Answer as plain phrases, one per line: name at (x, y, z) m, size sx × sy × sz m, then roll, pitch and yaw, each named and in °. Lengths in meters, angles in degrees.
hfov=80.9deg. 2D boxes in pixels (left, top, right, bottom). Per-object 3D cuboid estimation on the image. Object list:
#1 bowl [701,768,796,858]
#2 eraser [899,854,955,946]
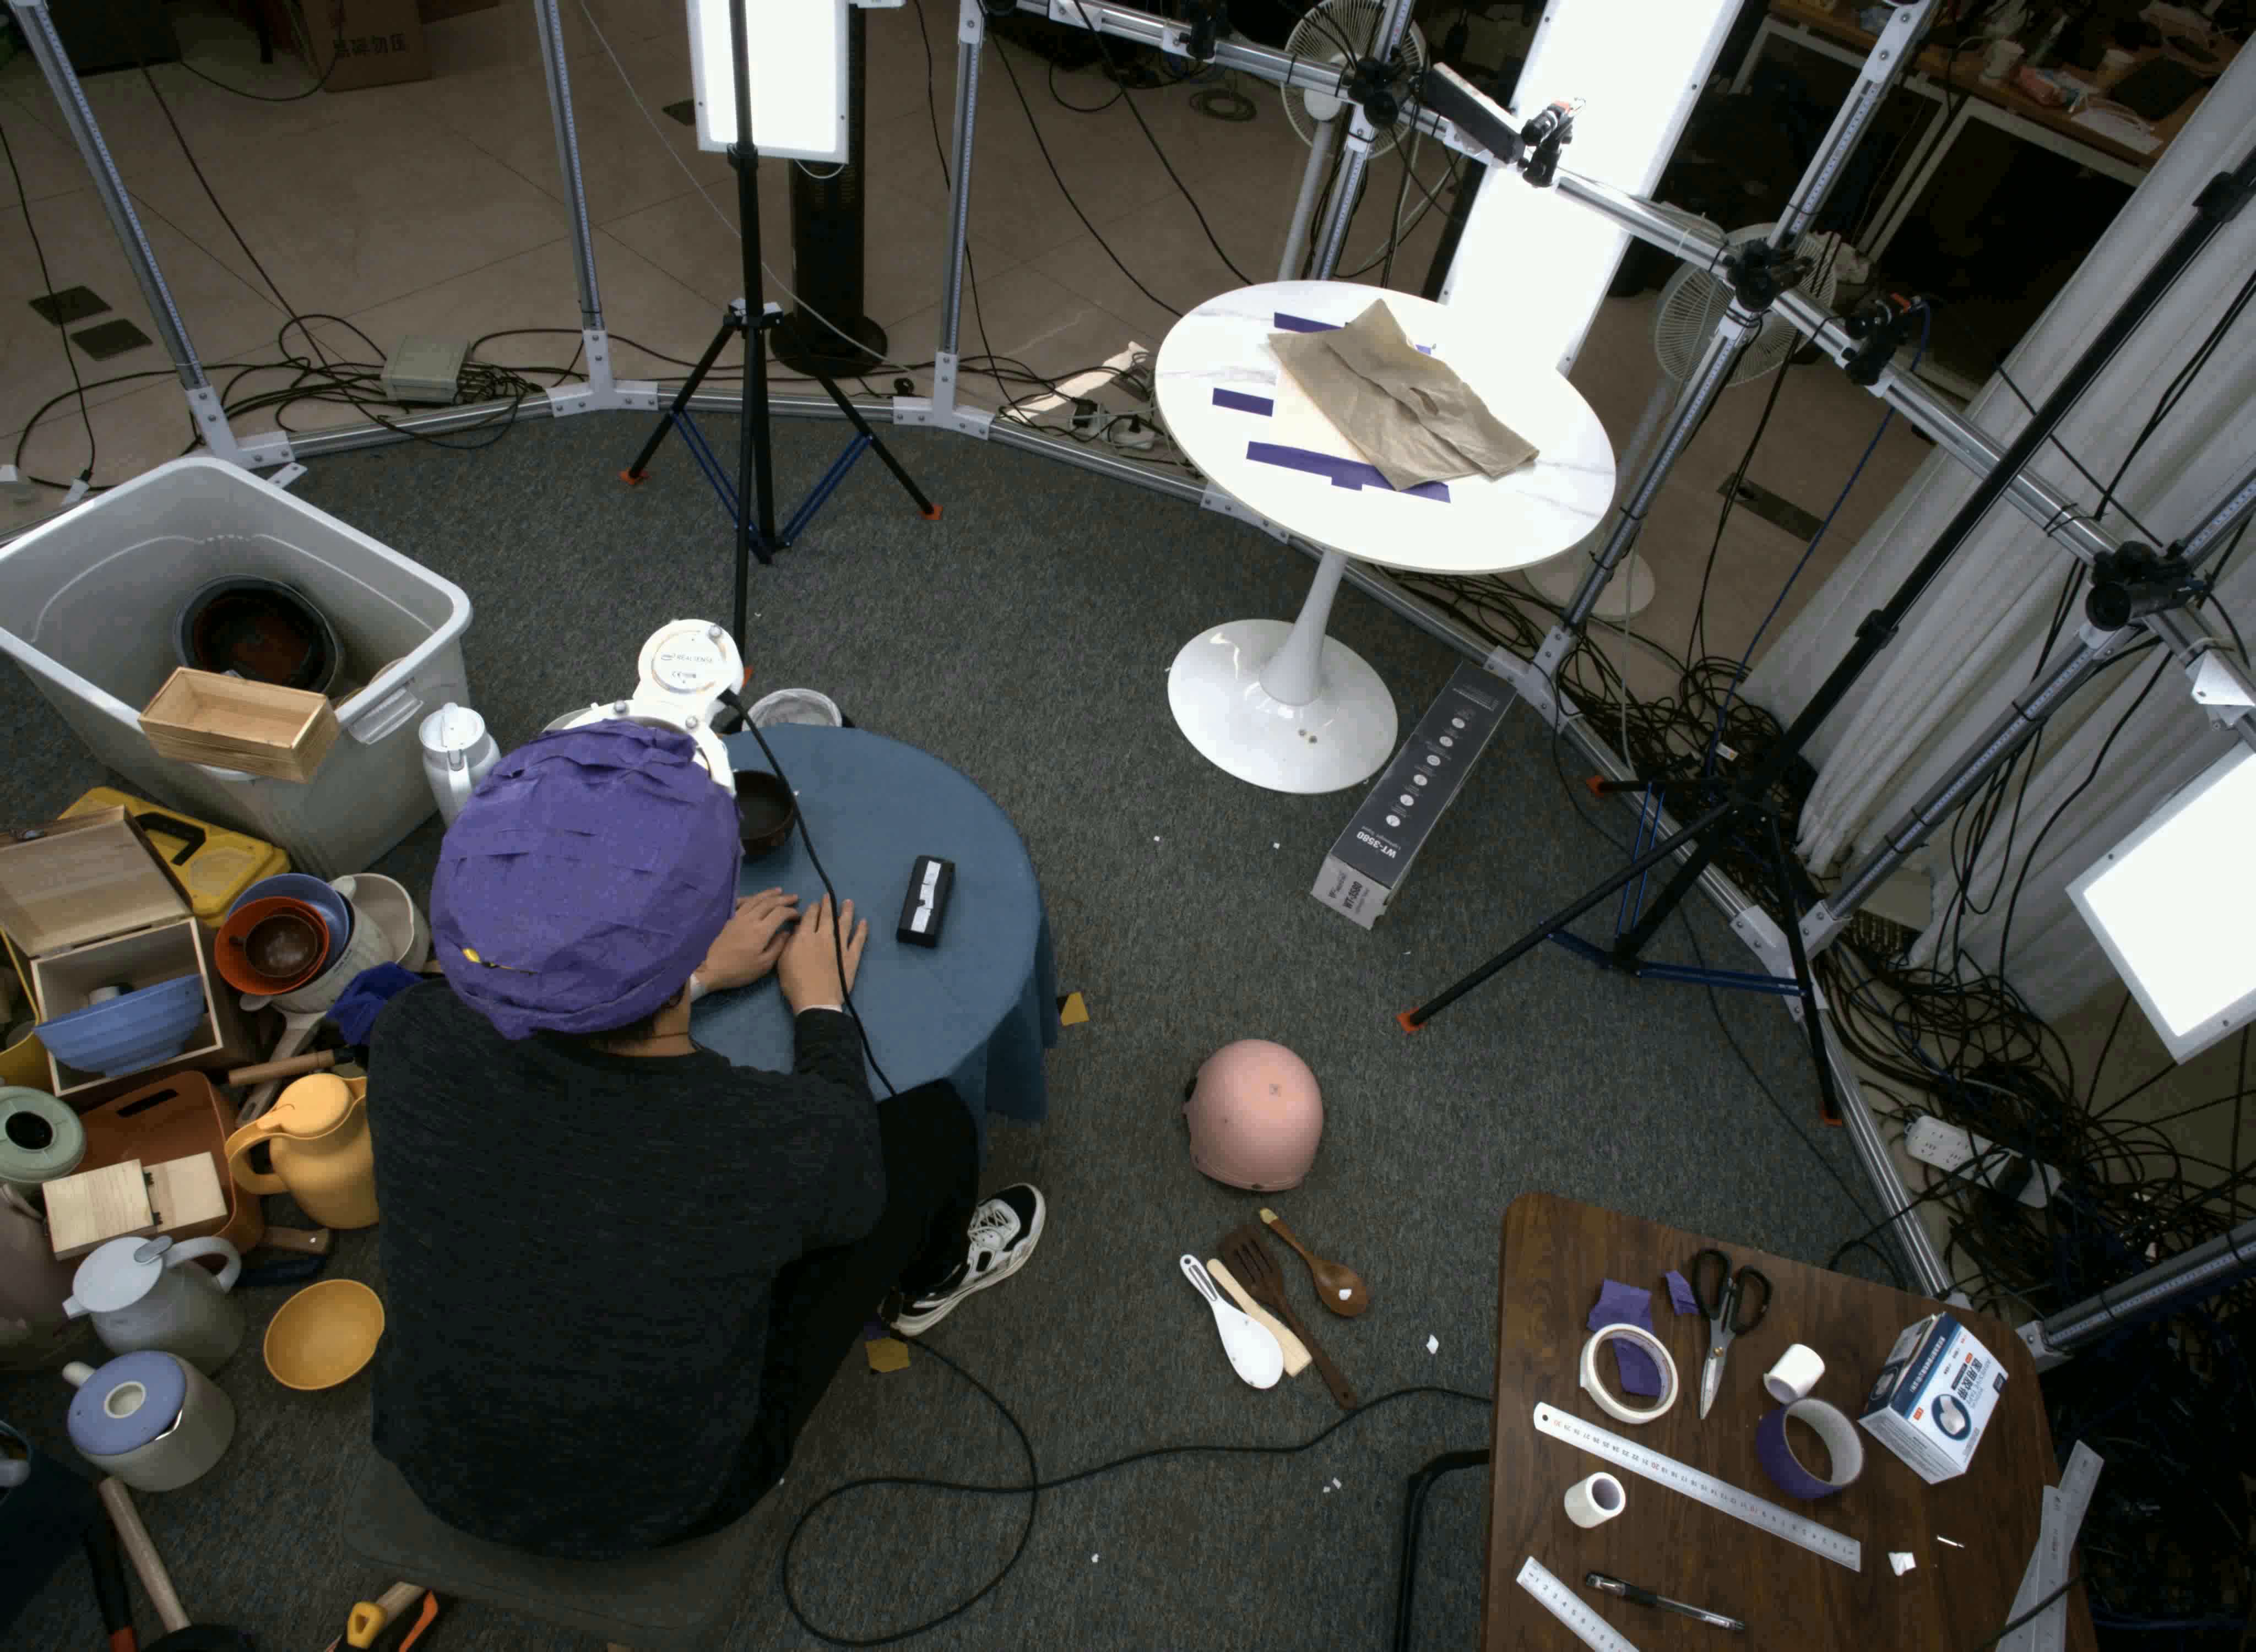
bowl at (-0.487, -0.010, 1.663) m, size 0.118 × 0.071 × 0.116 m, roll 8°, pitch 53°, yaw -9°
eraser at (-0.258, 0.092, 1.675) m, size 0.053 × 0.031 × 0.123 m, roll 8°, pitch 52°, yaw -4°
